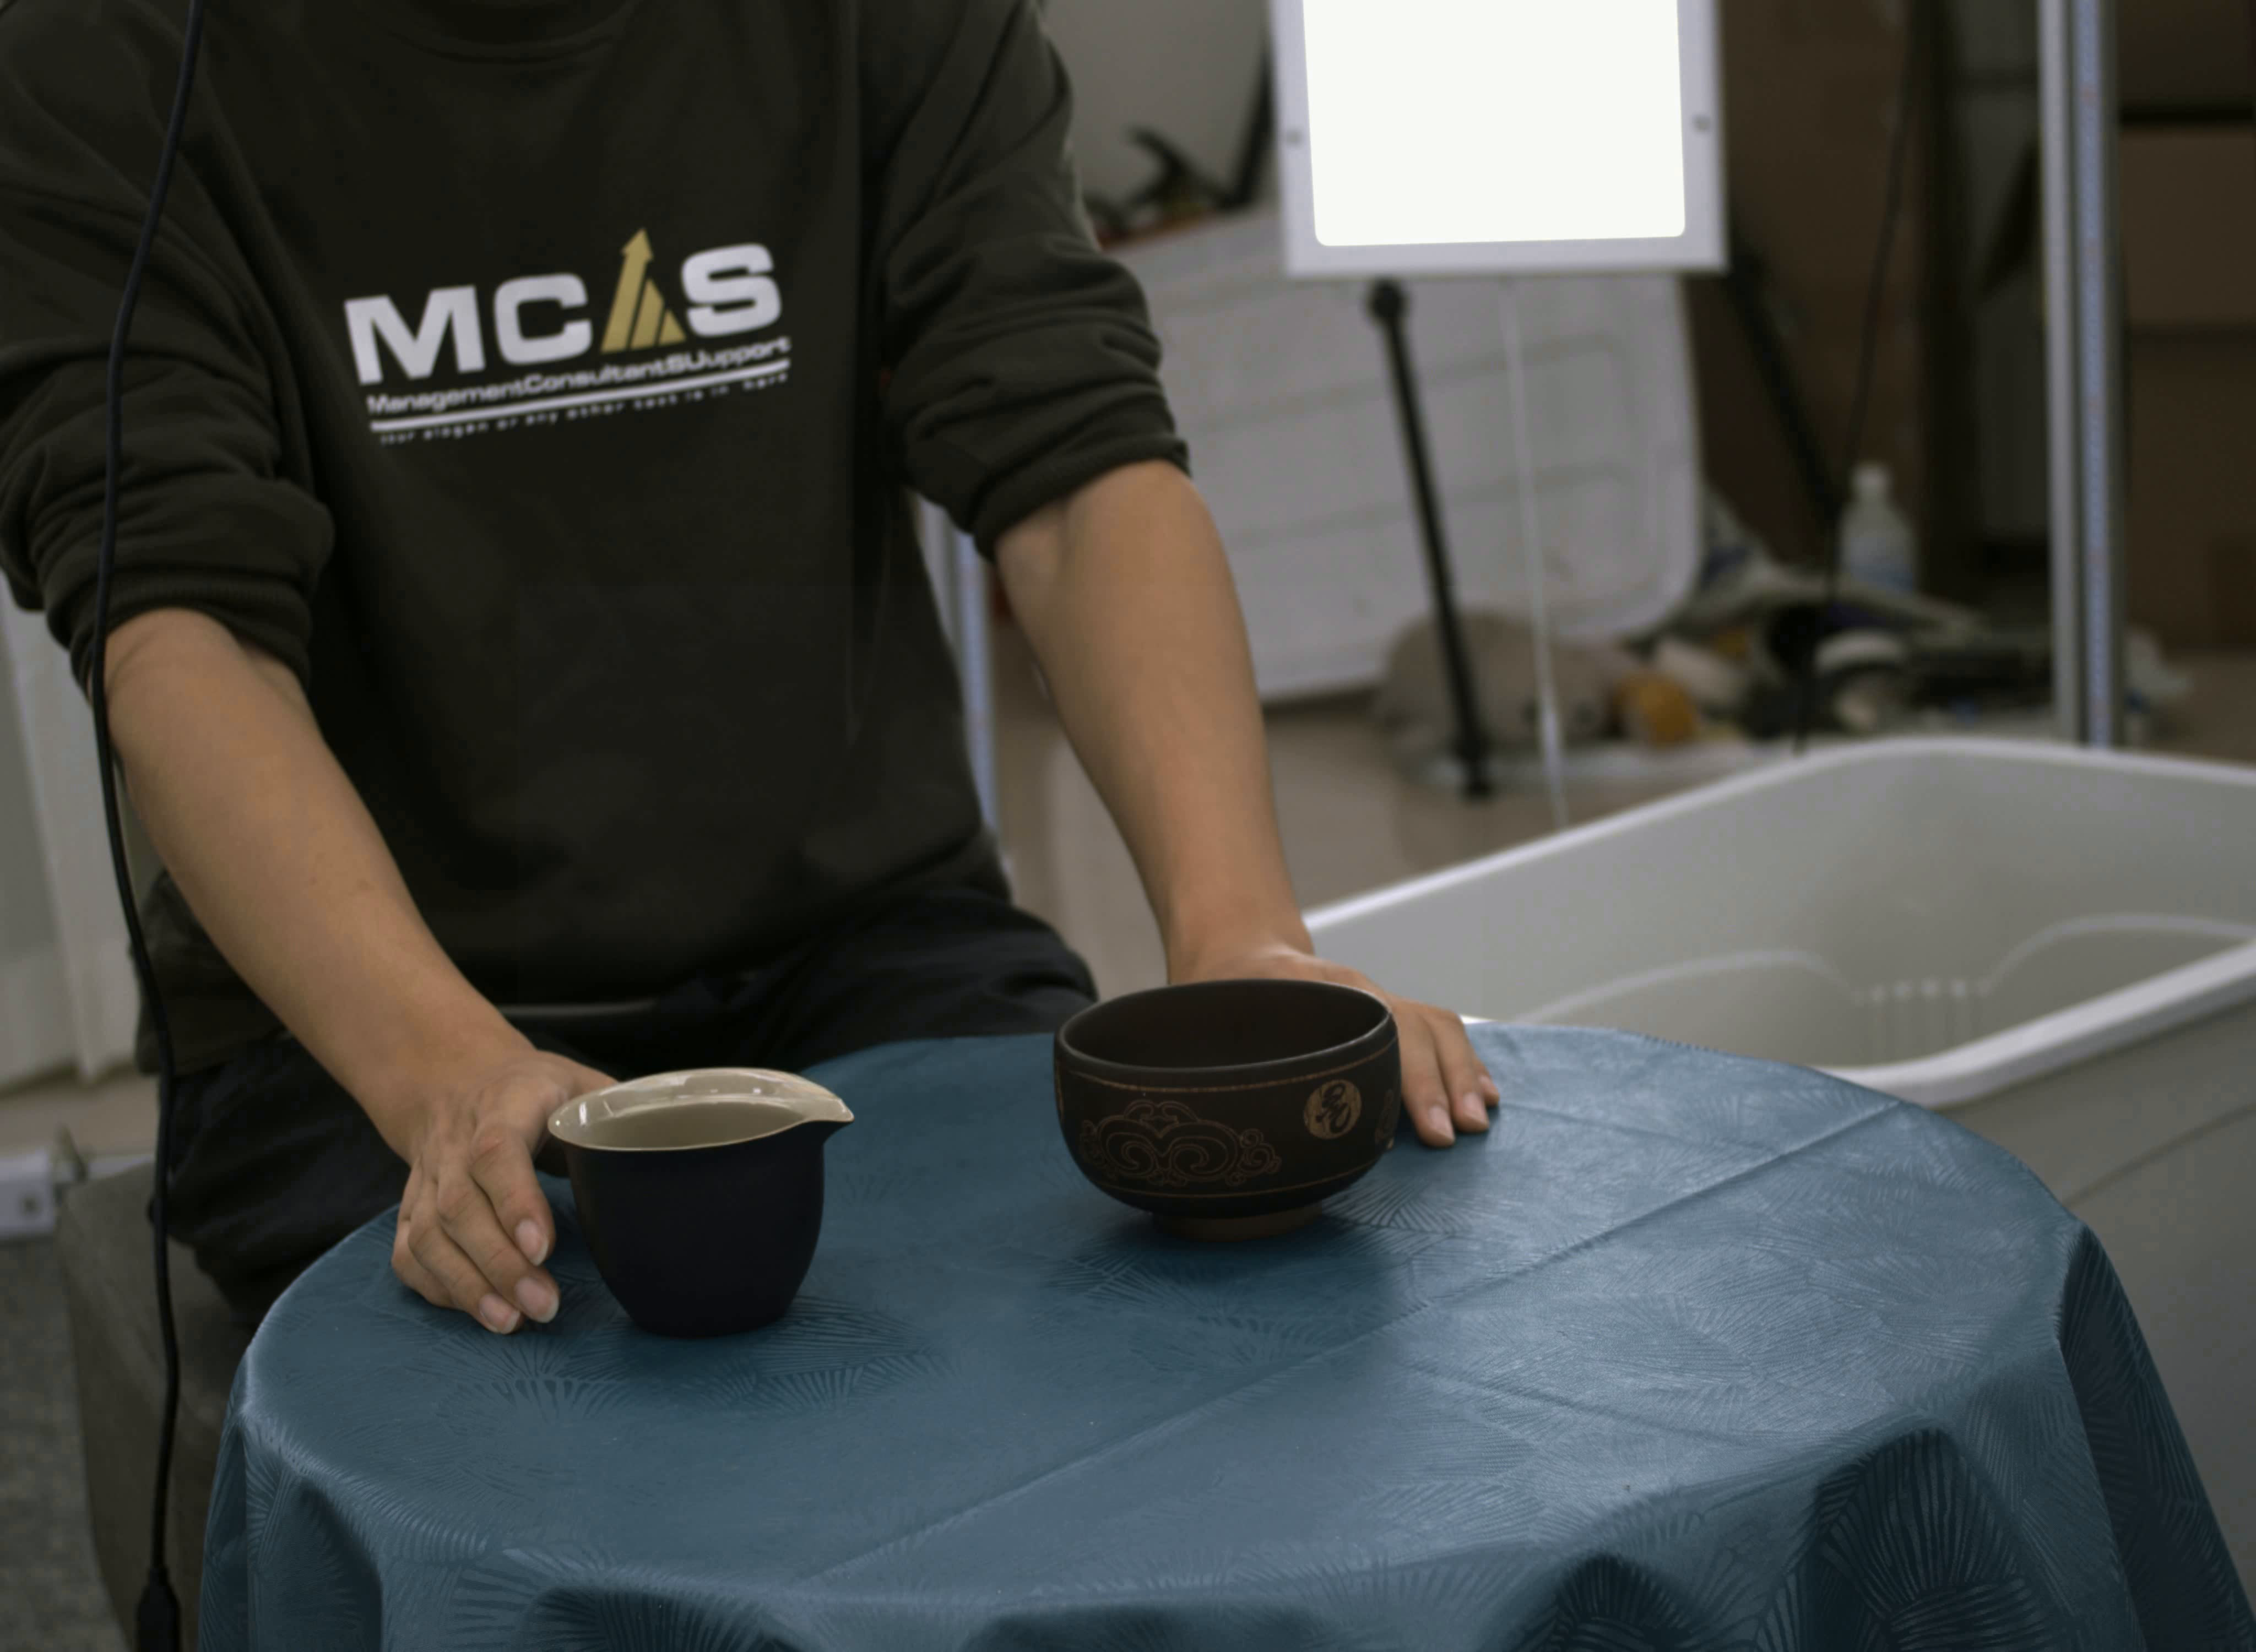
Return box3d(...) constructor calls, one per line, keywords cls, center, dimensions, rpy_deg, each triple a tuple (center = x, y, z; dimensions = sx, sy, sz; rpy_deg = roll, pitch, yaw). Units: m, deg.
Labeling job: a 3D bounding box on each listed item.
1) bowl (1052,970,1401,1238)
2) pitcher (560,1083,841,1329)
box3d(cls="bowl", center=(0.035, 0.097, 1.856), dimensions=(0.118, 0.070, 0.118), rpy_deg=(-5, 15, 0))
box3d(cls="pitcher", center=(-0.136, 0.123, 1.802), dimensions=(0.097, 0.071, 0.082), rpy_deg=(0, 13, 23))
